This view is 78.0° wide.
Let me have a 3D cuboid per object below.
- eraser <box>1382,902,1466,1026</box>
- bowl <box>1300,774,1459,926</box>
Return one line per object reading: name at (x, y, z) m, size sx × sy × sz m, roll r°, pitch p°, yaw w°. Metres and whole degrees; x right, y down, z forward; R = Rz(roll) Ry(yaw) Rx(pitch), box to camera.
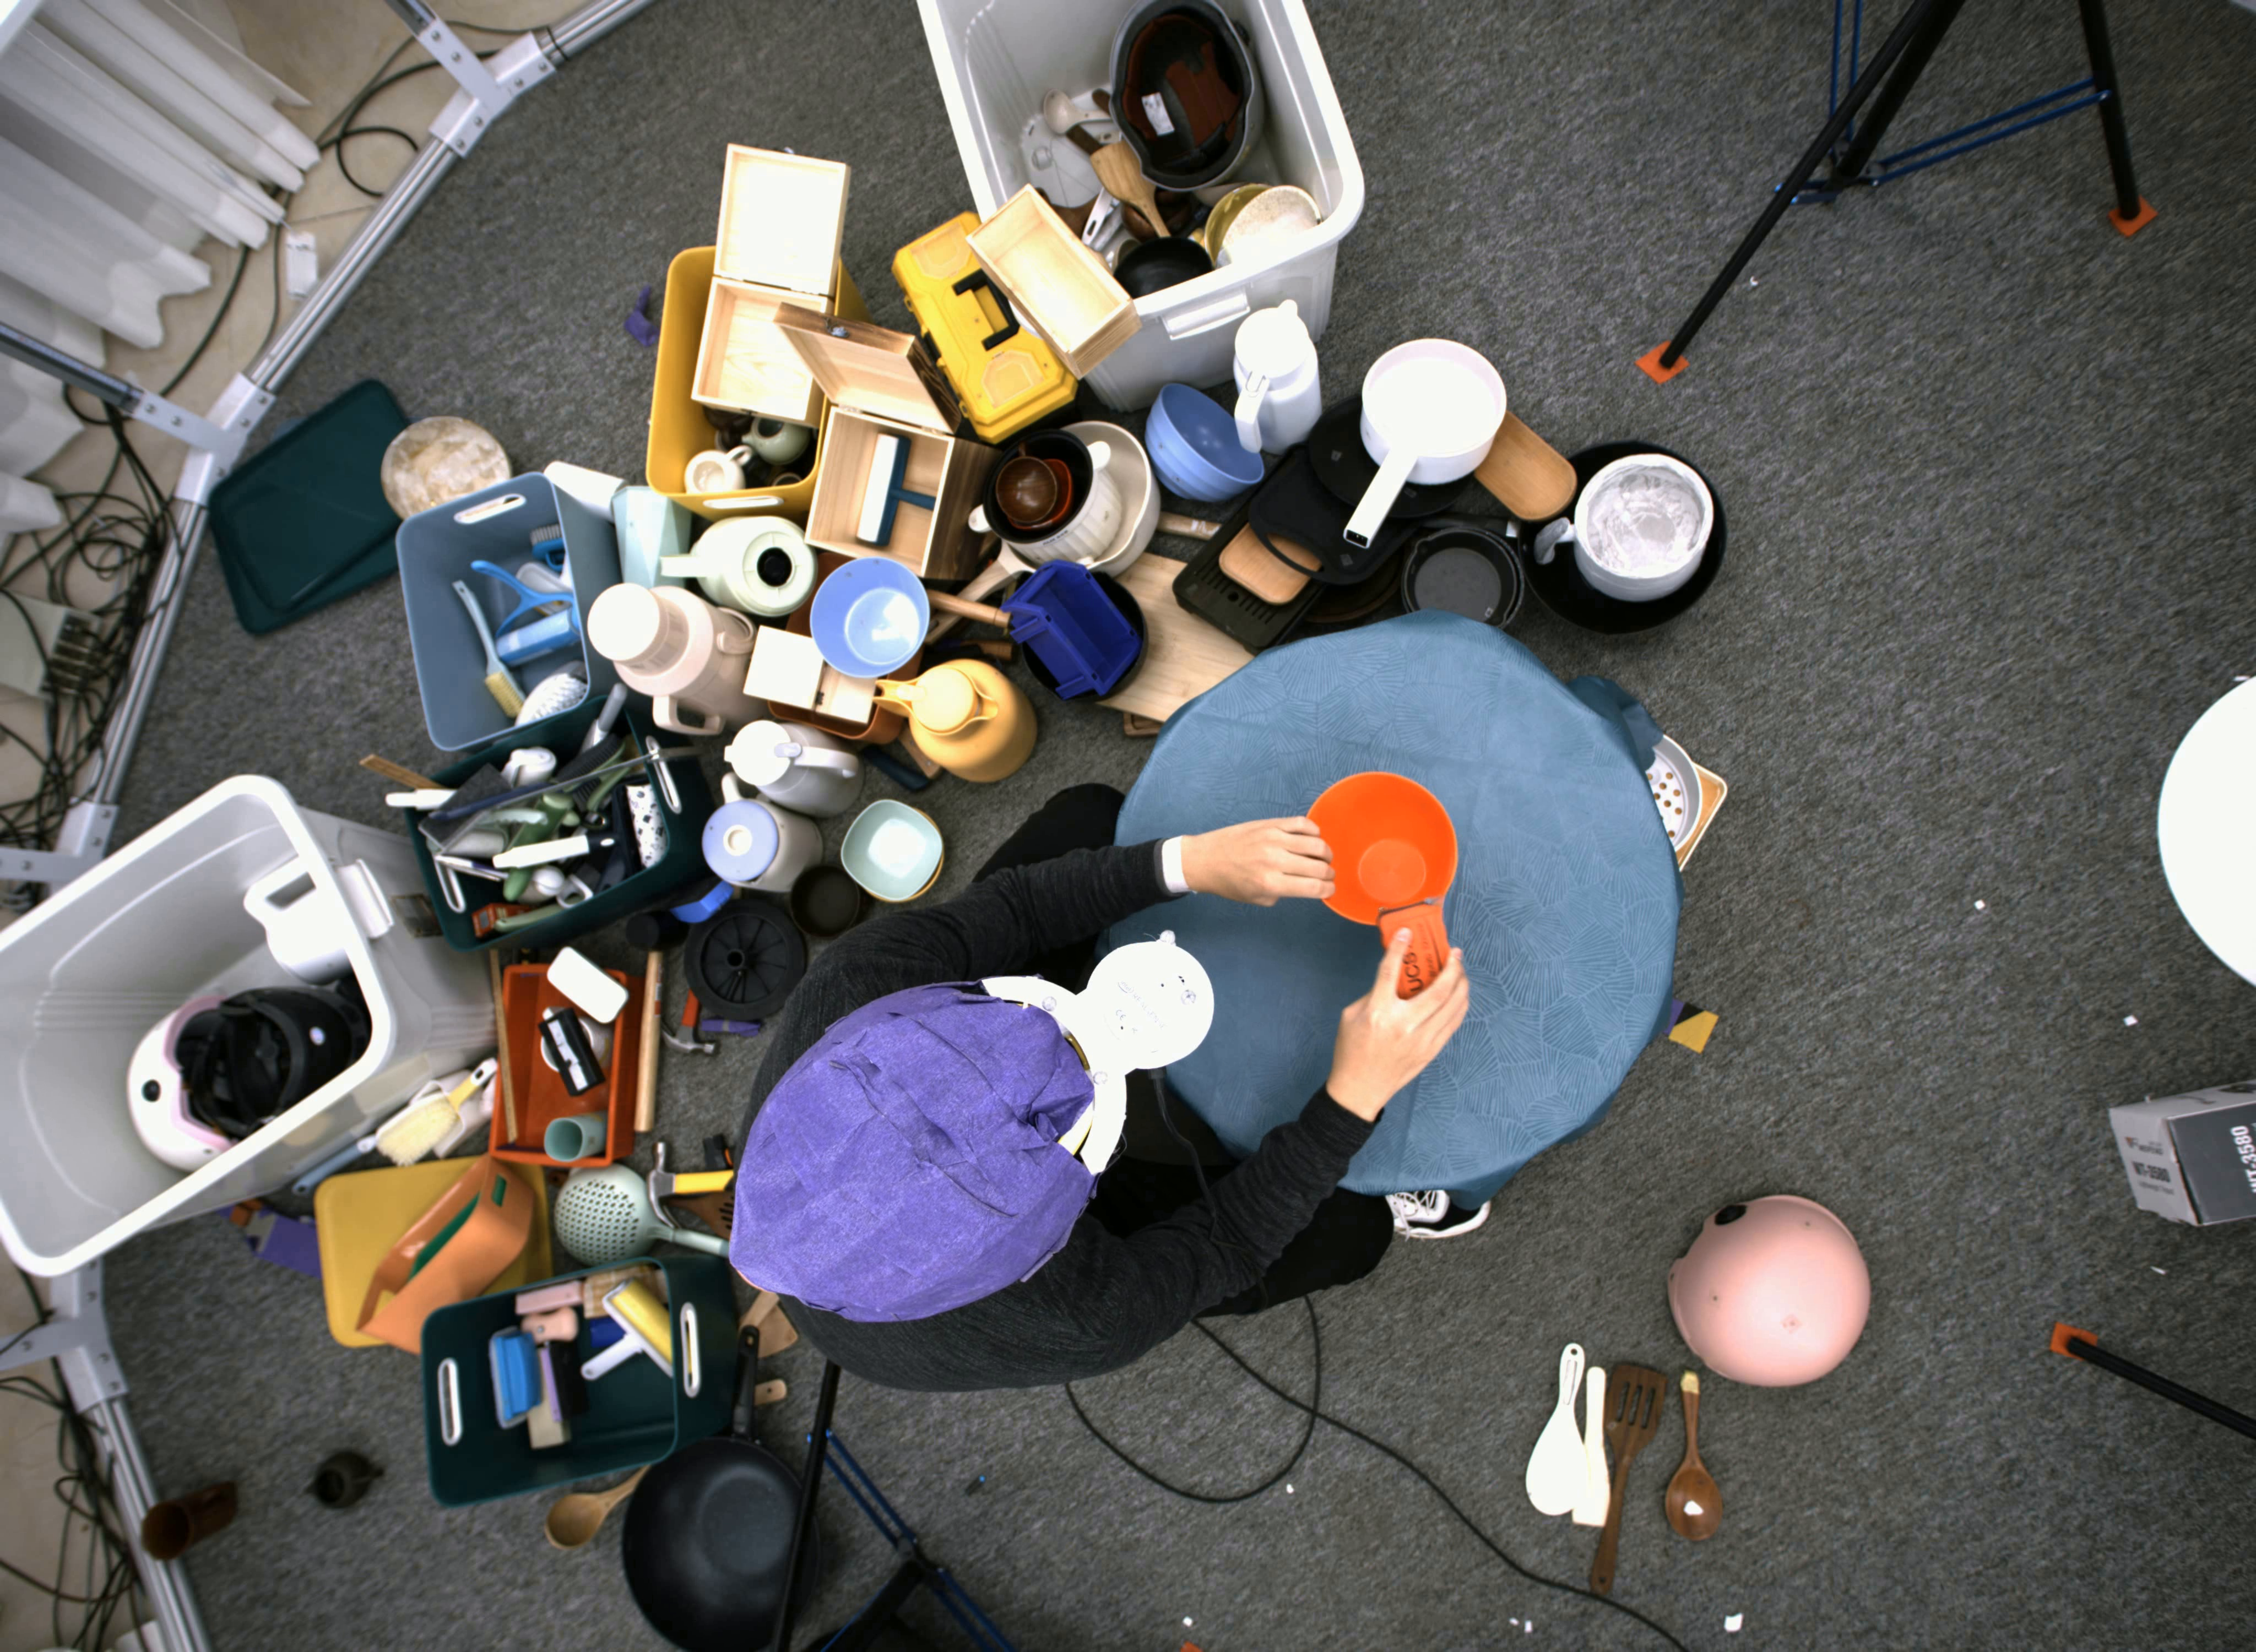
eraser at (0.276, 0.127, 1.286) m, size 0.059 × 0.022 × 0.109 m, roll -16°, pitch 104°, yaw -1°
bowl at (0.246, 0.032, 1.341) m, size 0.149 × 0.105 × 0.146 m, roll -3°, pitch 75°, yaw 12°
